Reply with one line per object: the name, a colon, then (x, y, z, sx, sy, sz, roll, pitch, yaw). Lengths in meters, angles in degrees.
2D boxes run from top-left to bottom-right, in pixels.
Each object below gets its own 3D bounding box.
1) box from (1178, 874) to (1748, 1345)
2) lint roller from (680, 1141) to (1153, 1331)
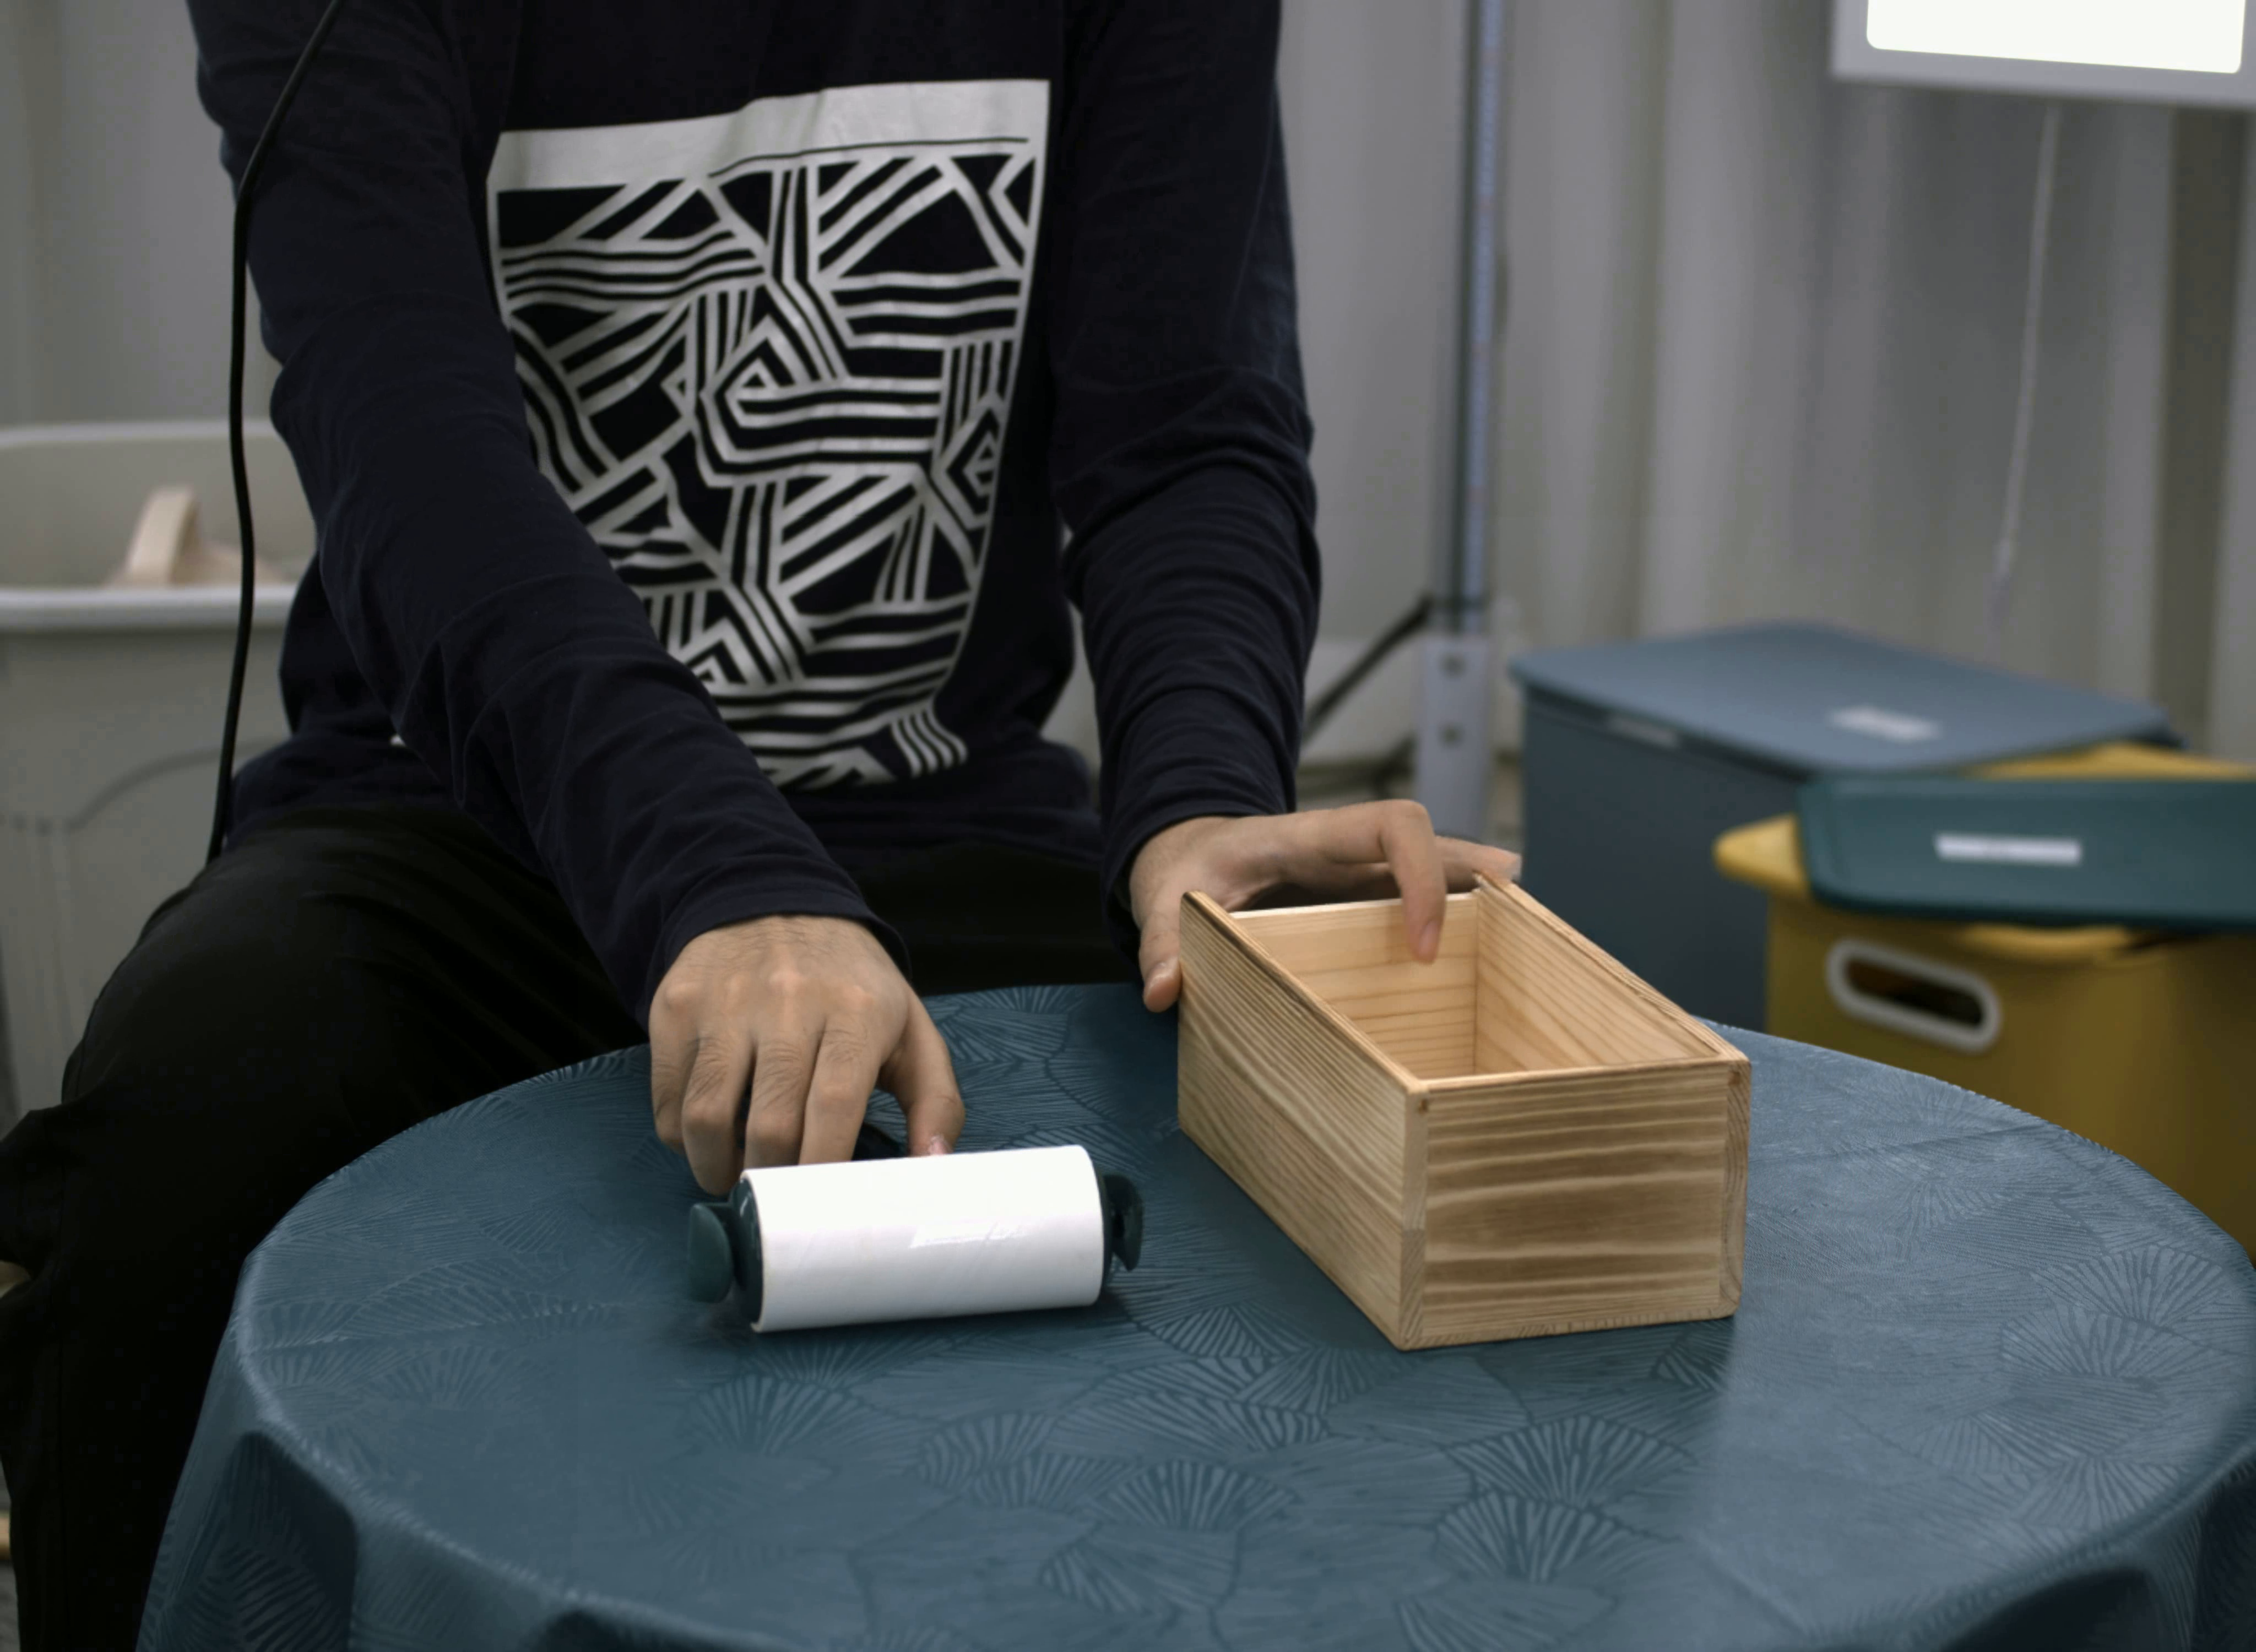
box: (0.097, 0.082, 1.591, 0.108, 0.081, 0.209, -5, 15, -17)
lint roller: (-0.077, 0.106, 1.575, 0.134, 0.048, 0.178, -4, 11, -14)
